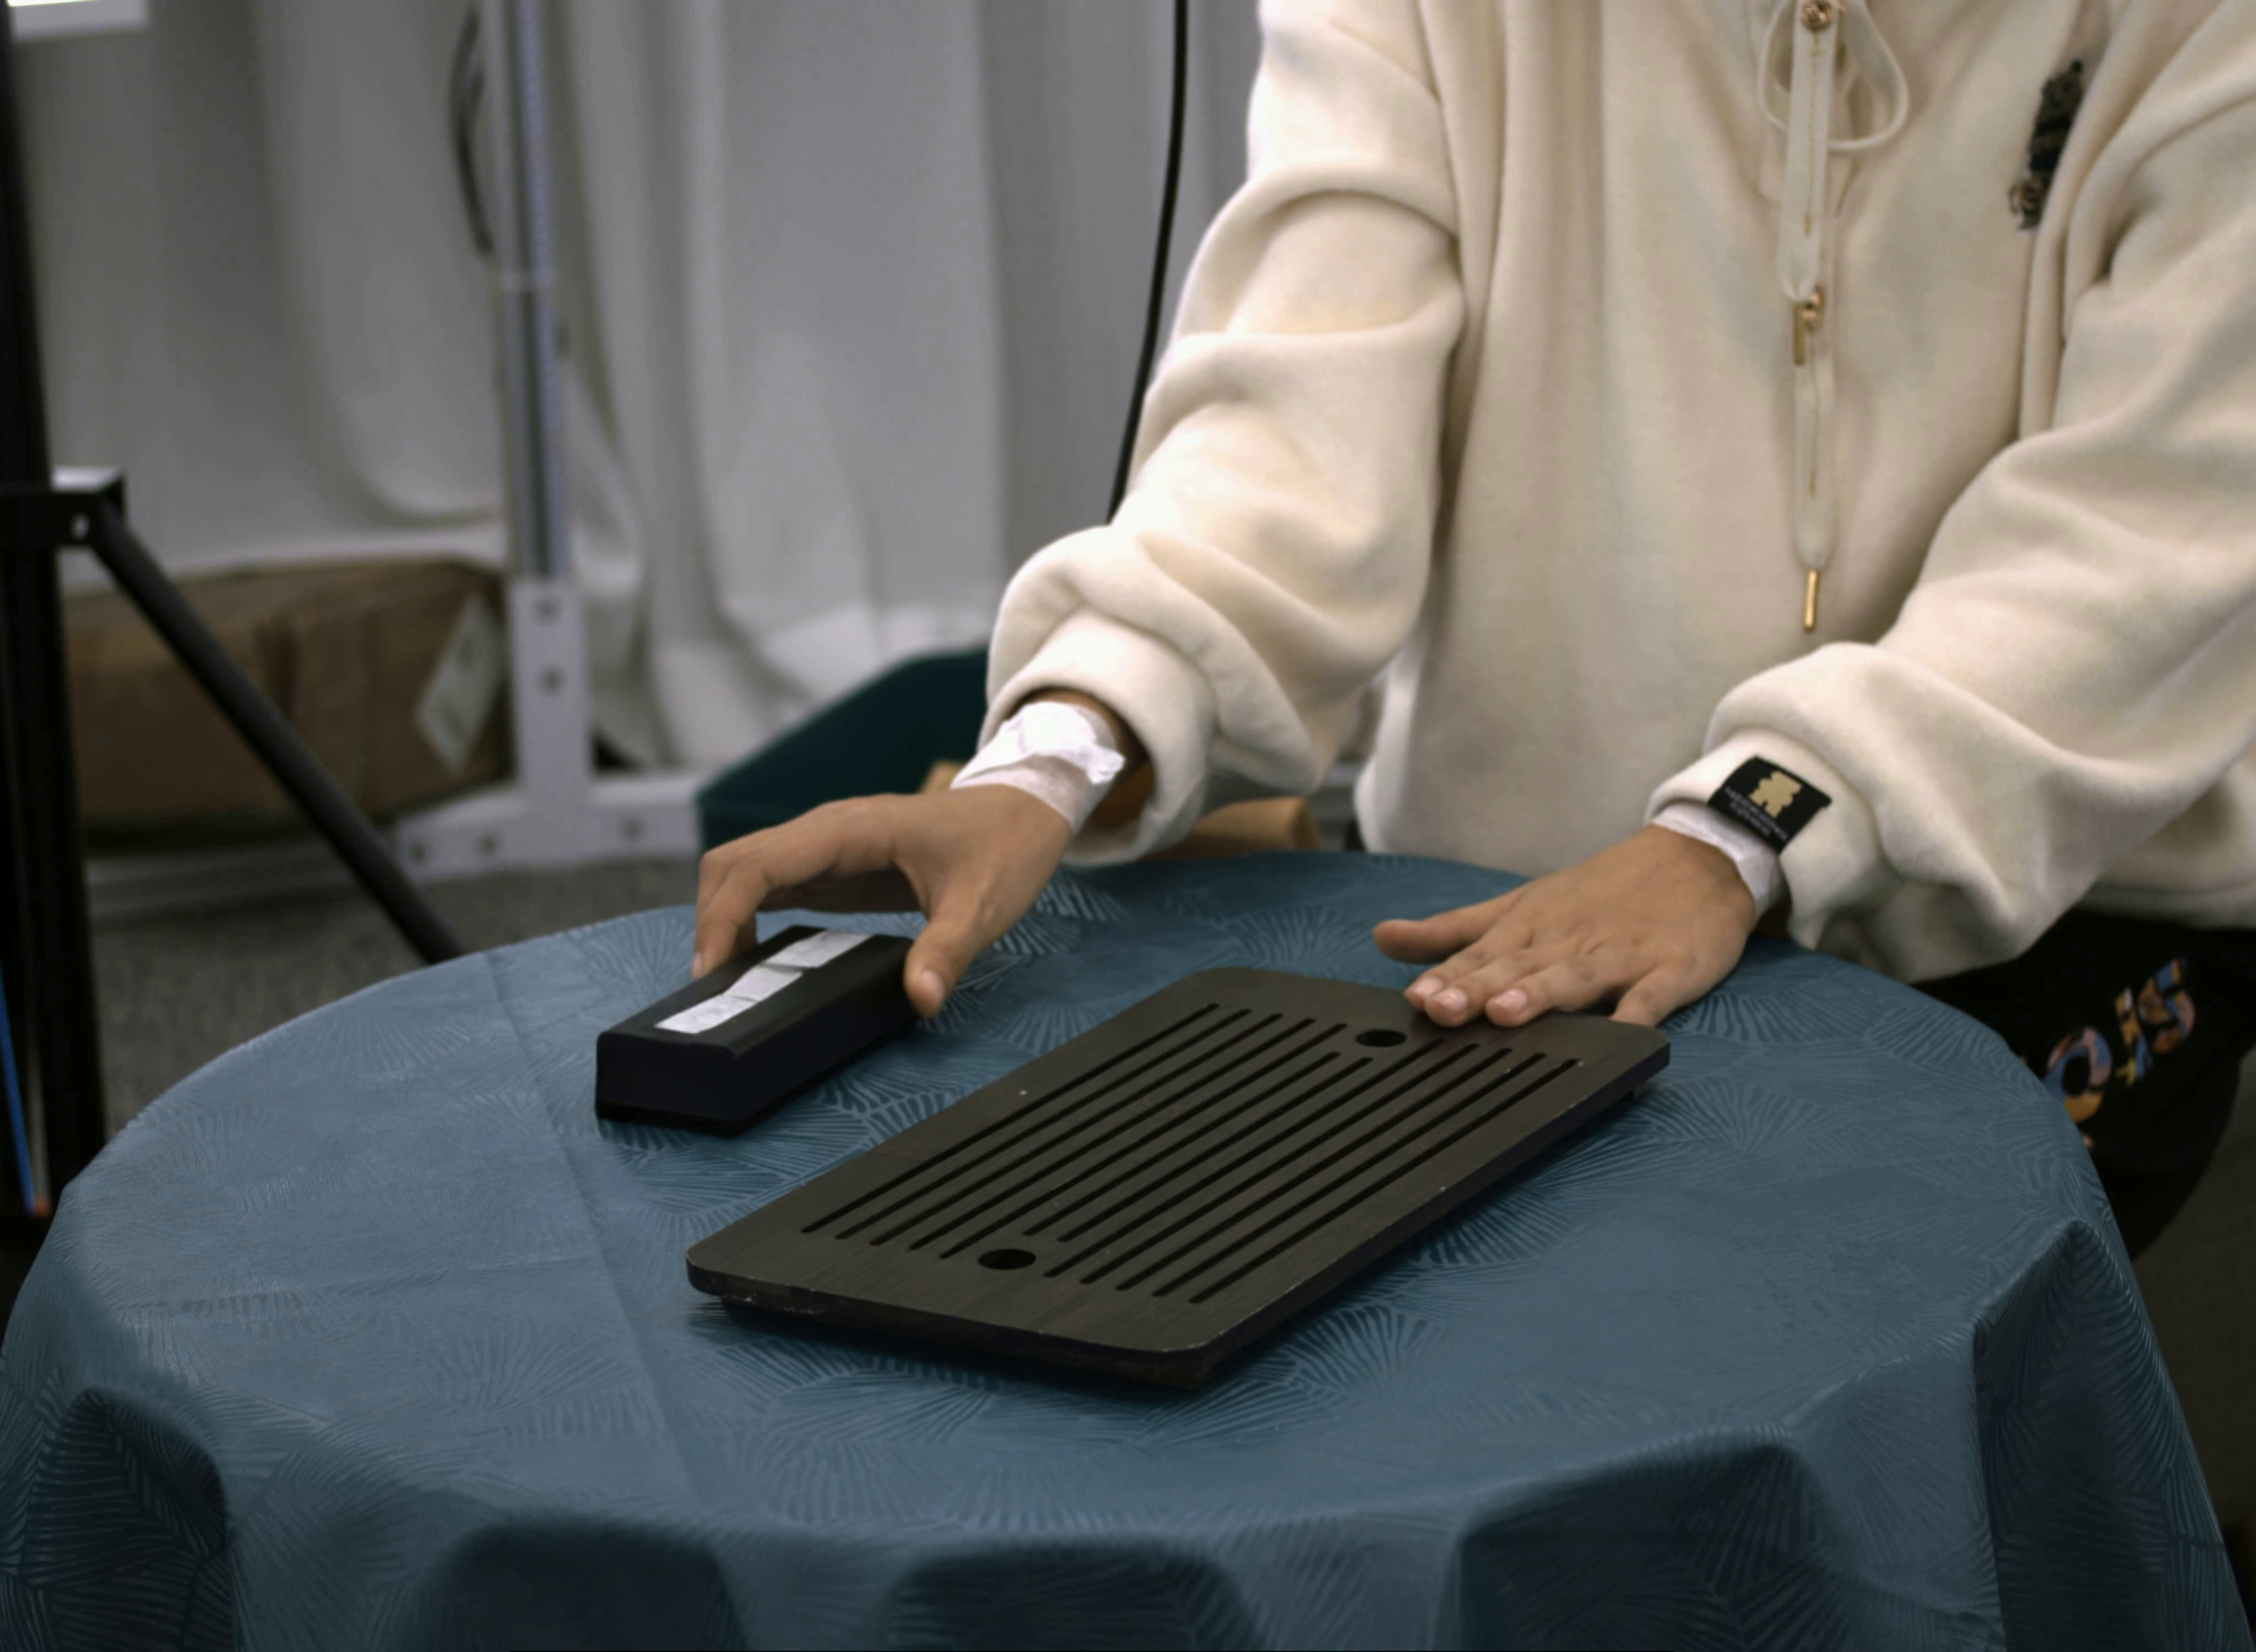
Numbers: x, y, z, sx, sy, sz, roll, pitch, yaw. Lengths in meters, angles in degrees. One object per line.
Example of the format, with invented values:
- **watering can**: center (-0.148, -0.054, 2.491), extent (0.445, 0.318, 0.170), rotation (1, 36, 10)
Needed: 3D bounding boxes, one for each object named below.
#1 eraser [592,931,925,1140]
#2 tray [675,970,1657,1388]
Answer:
- **eraser**: center (-0.115, 0.065, 1.680), extent (0.054, 0.030, 0.123), rotation (8, 17, 25)
- **tray**: center (0.018, 0.100, 1.551), extent (0.173, 0.018, 0.300), rotation (7, 19, 31)
